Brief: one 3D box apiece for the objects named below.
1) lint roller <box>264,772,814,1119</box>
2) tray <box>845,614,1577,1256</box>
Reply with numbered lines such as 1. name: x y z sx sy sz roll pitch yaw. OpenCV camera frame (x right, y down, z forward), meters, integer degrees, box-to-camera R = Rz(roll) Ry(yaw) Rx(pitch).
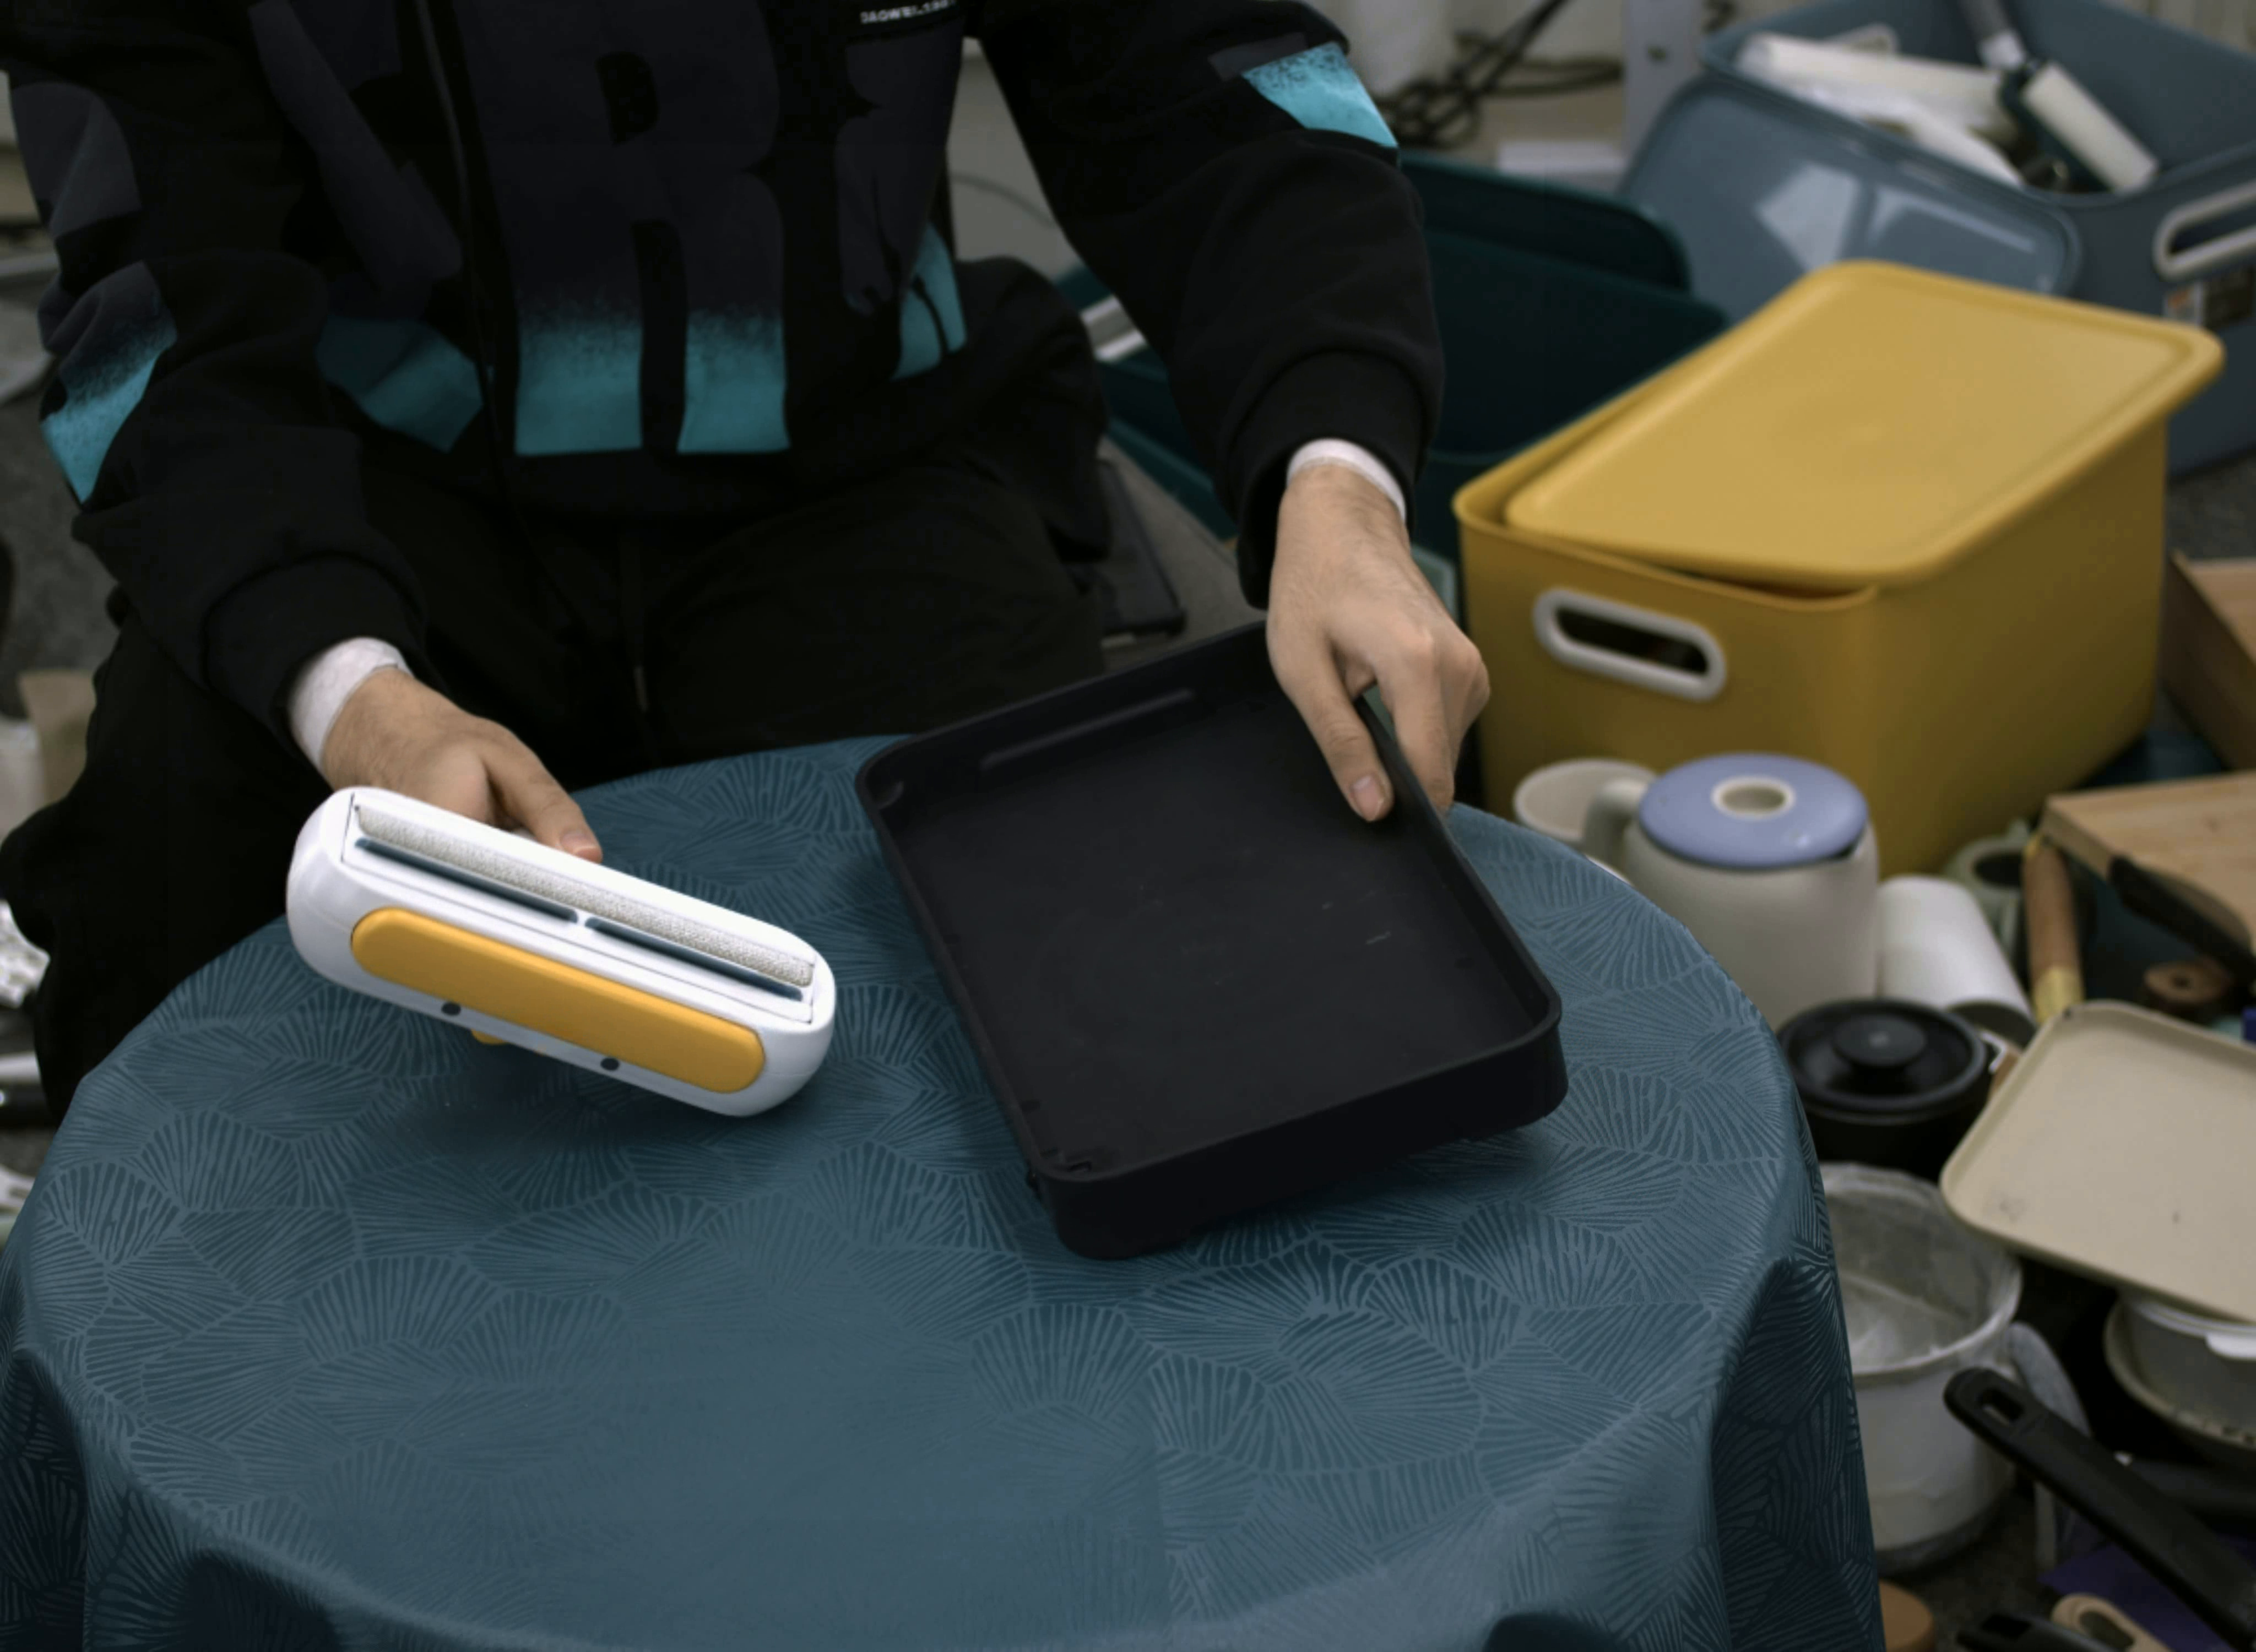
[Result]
1. lint roller: -0.203 0.024 1.954 0.192 0.073 0.195 18 22 -10
2. tray: 0.024 0.032 1.961 0.184 0.036 0.321 -18 31 -8
